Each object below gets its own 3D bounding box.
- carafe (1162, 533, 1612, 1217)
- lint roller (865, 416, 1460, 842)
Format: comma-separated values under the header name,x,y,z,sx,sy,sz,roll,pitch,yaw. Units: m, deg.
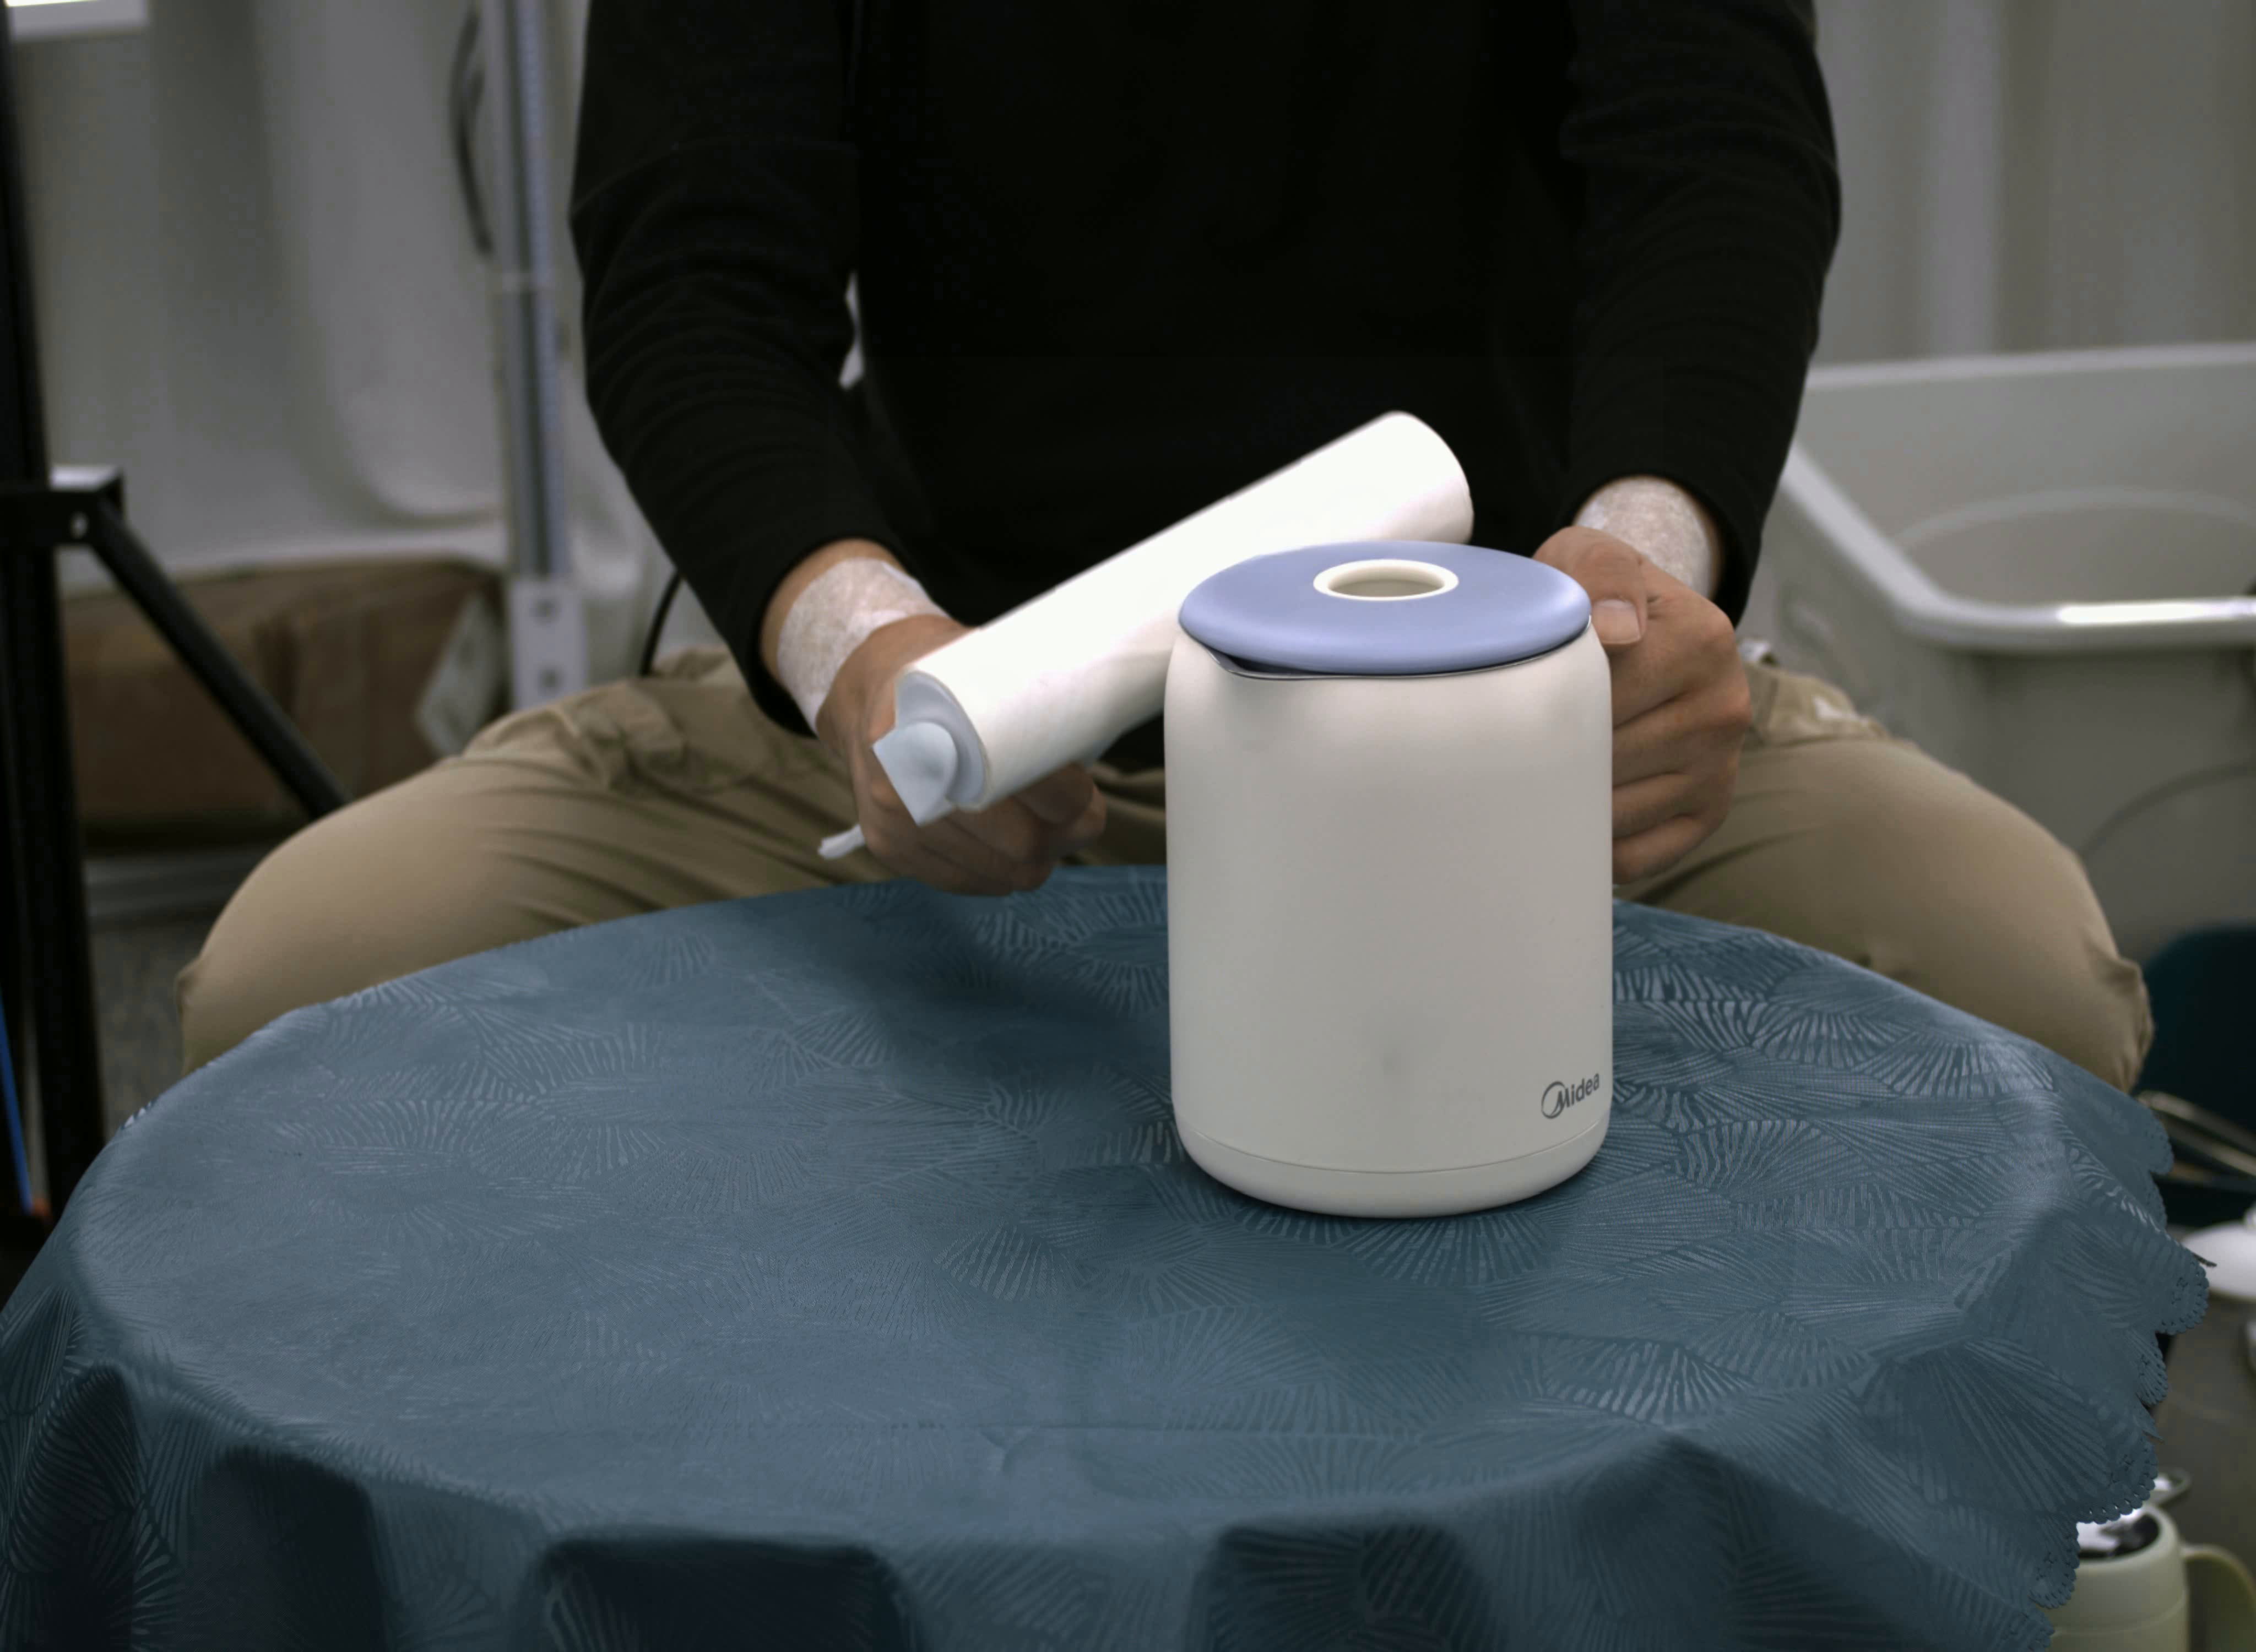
name,x,y,z,sx,sy,sz,roll,pitch,yaw
carafe,0.091,0.008,1.571,0.135,0.182,0.187,12,20,36
lint roller,-0.019,-0.043,1.678,0.199,0.048,0.228,-29,-1,-28
